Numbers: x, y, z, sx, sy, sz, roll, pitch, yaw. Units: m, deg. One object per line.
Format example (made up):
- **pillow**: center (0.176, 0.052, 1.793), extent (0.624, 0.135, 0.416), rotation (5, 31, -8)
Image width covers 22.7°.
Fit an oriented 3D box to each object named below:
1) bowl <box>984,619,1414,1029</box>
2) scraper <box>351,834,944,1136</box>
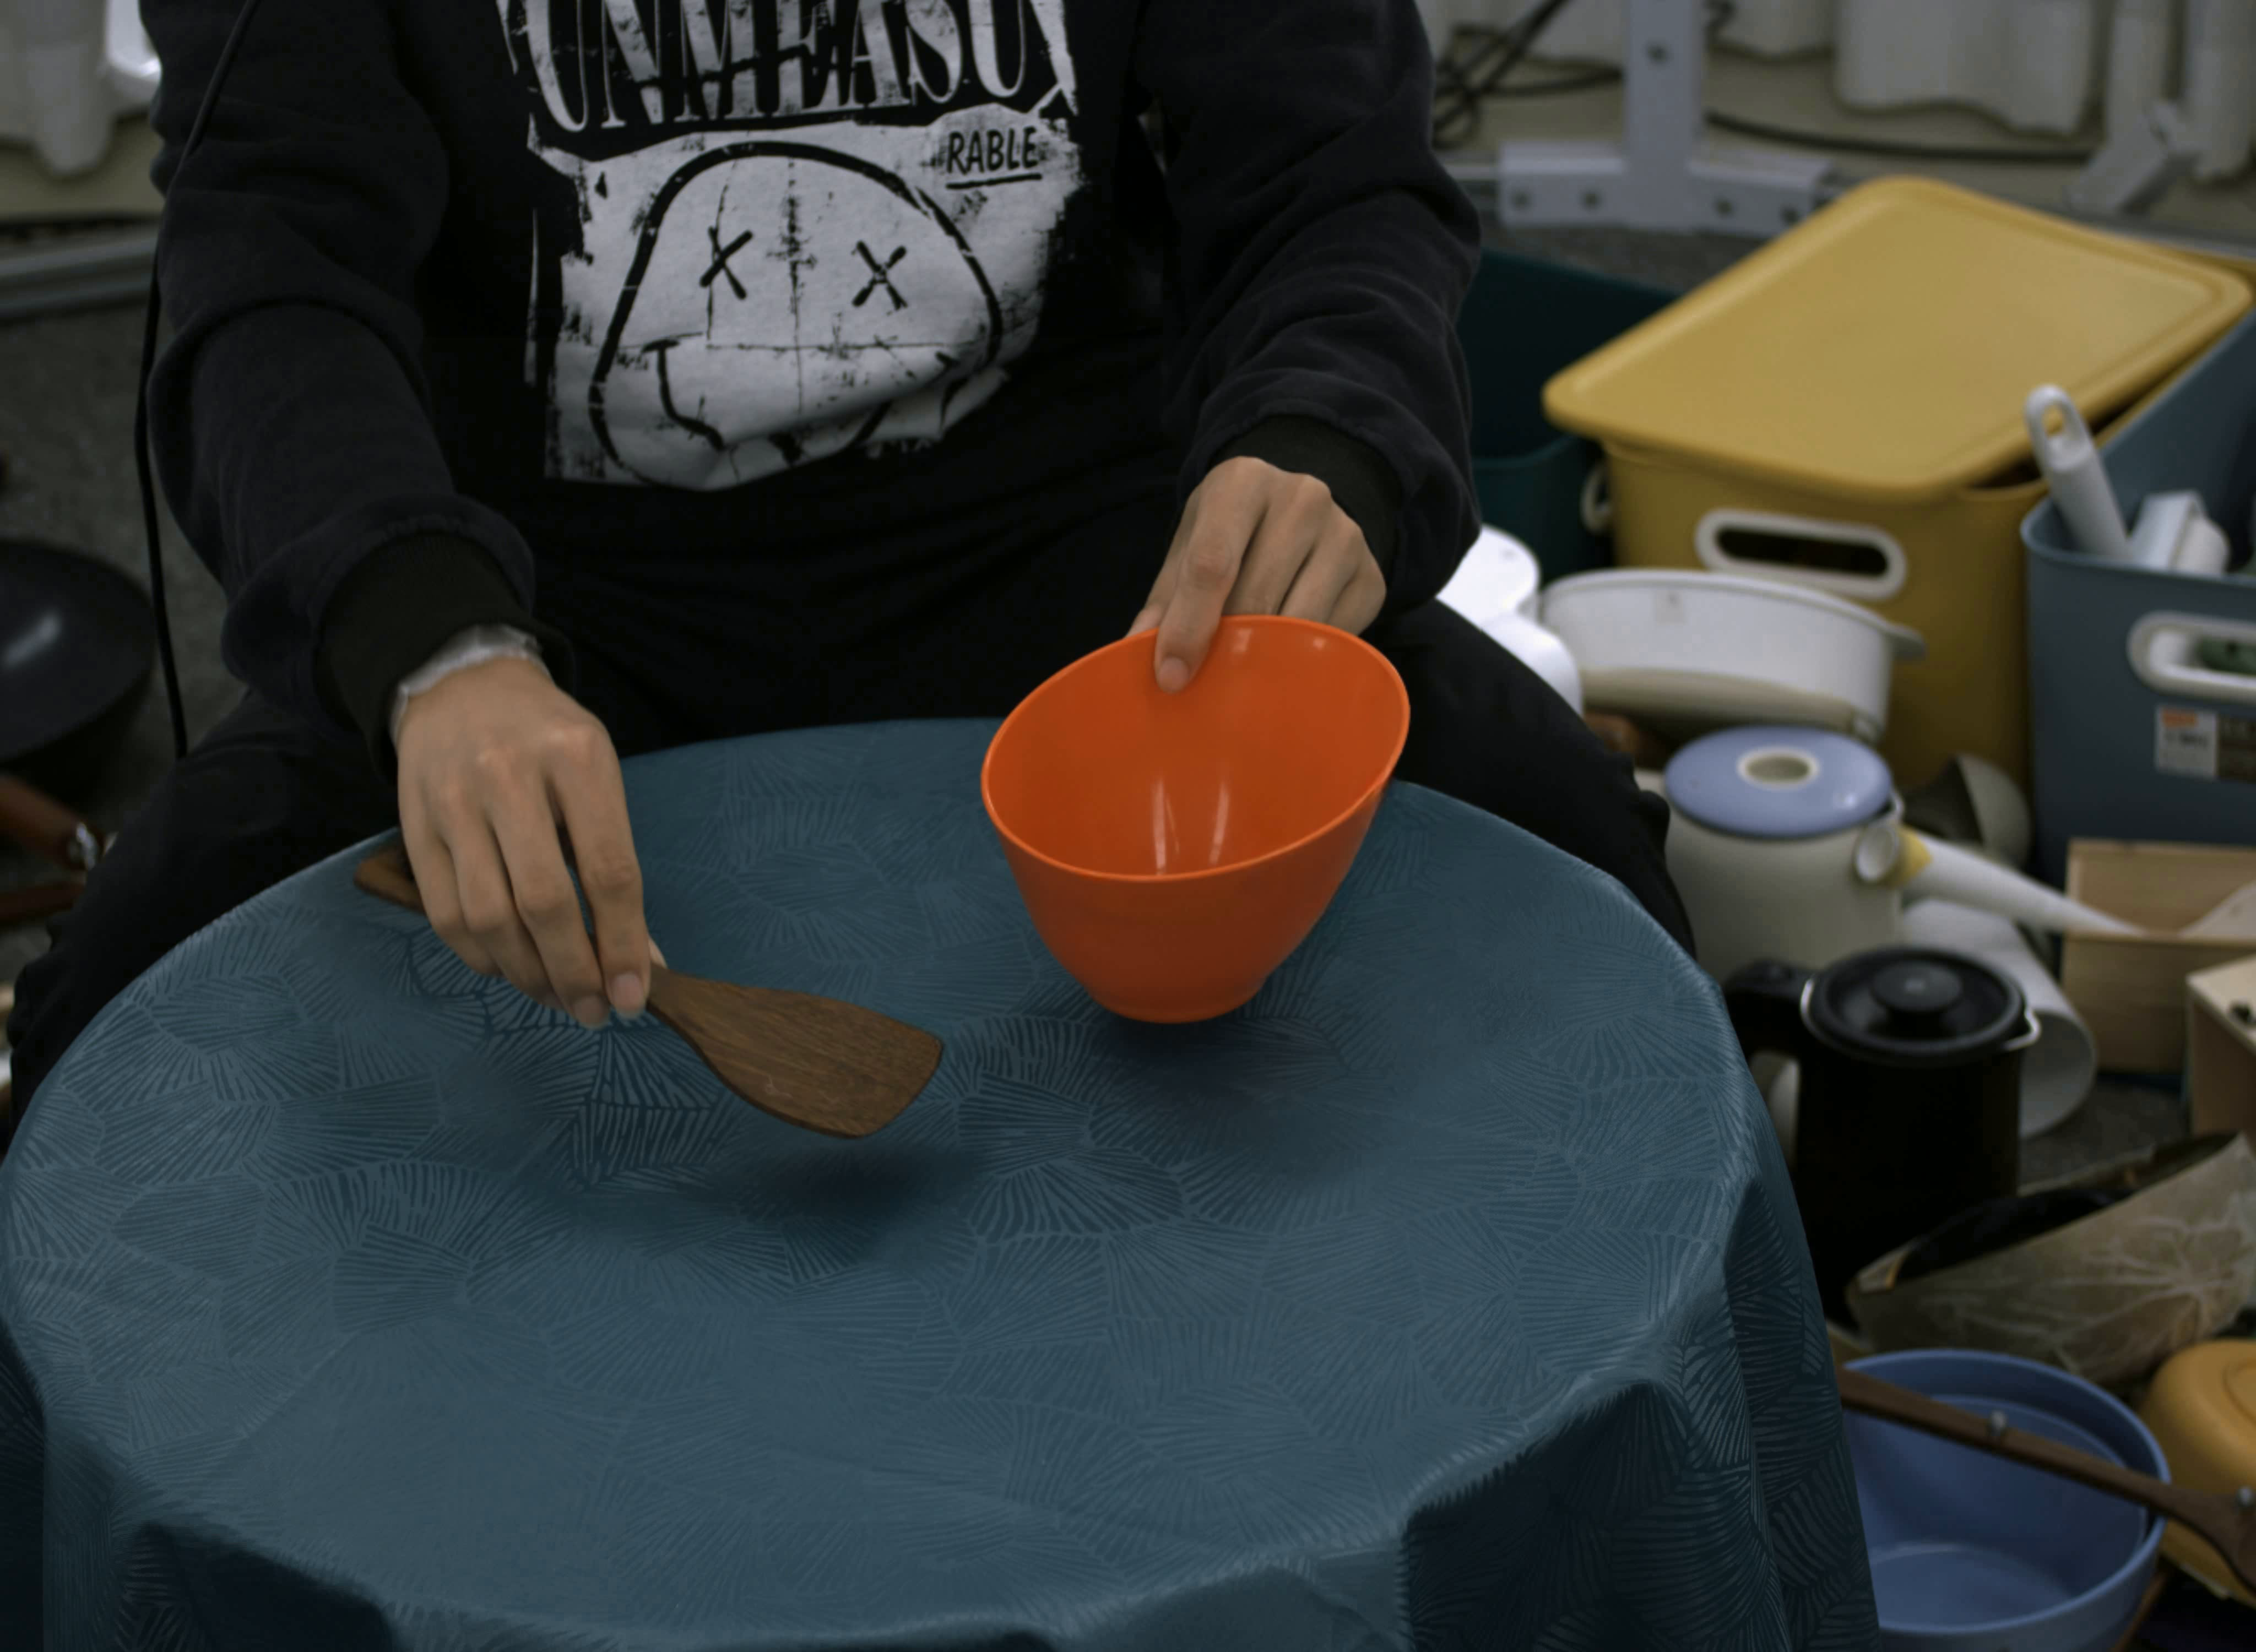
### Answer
- **bowl**: center (0.025, 0.007, 1.933), extent (0.147, 0.103, 0.150), rotation (-1, 33, 1)
- **scraper**: center (-0.164, 0.049, 1.874), extent (0.211, 0.010, 0.077), rotation (24, 32, 12)
